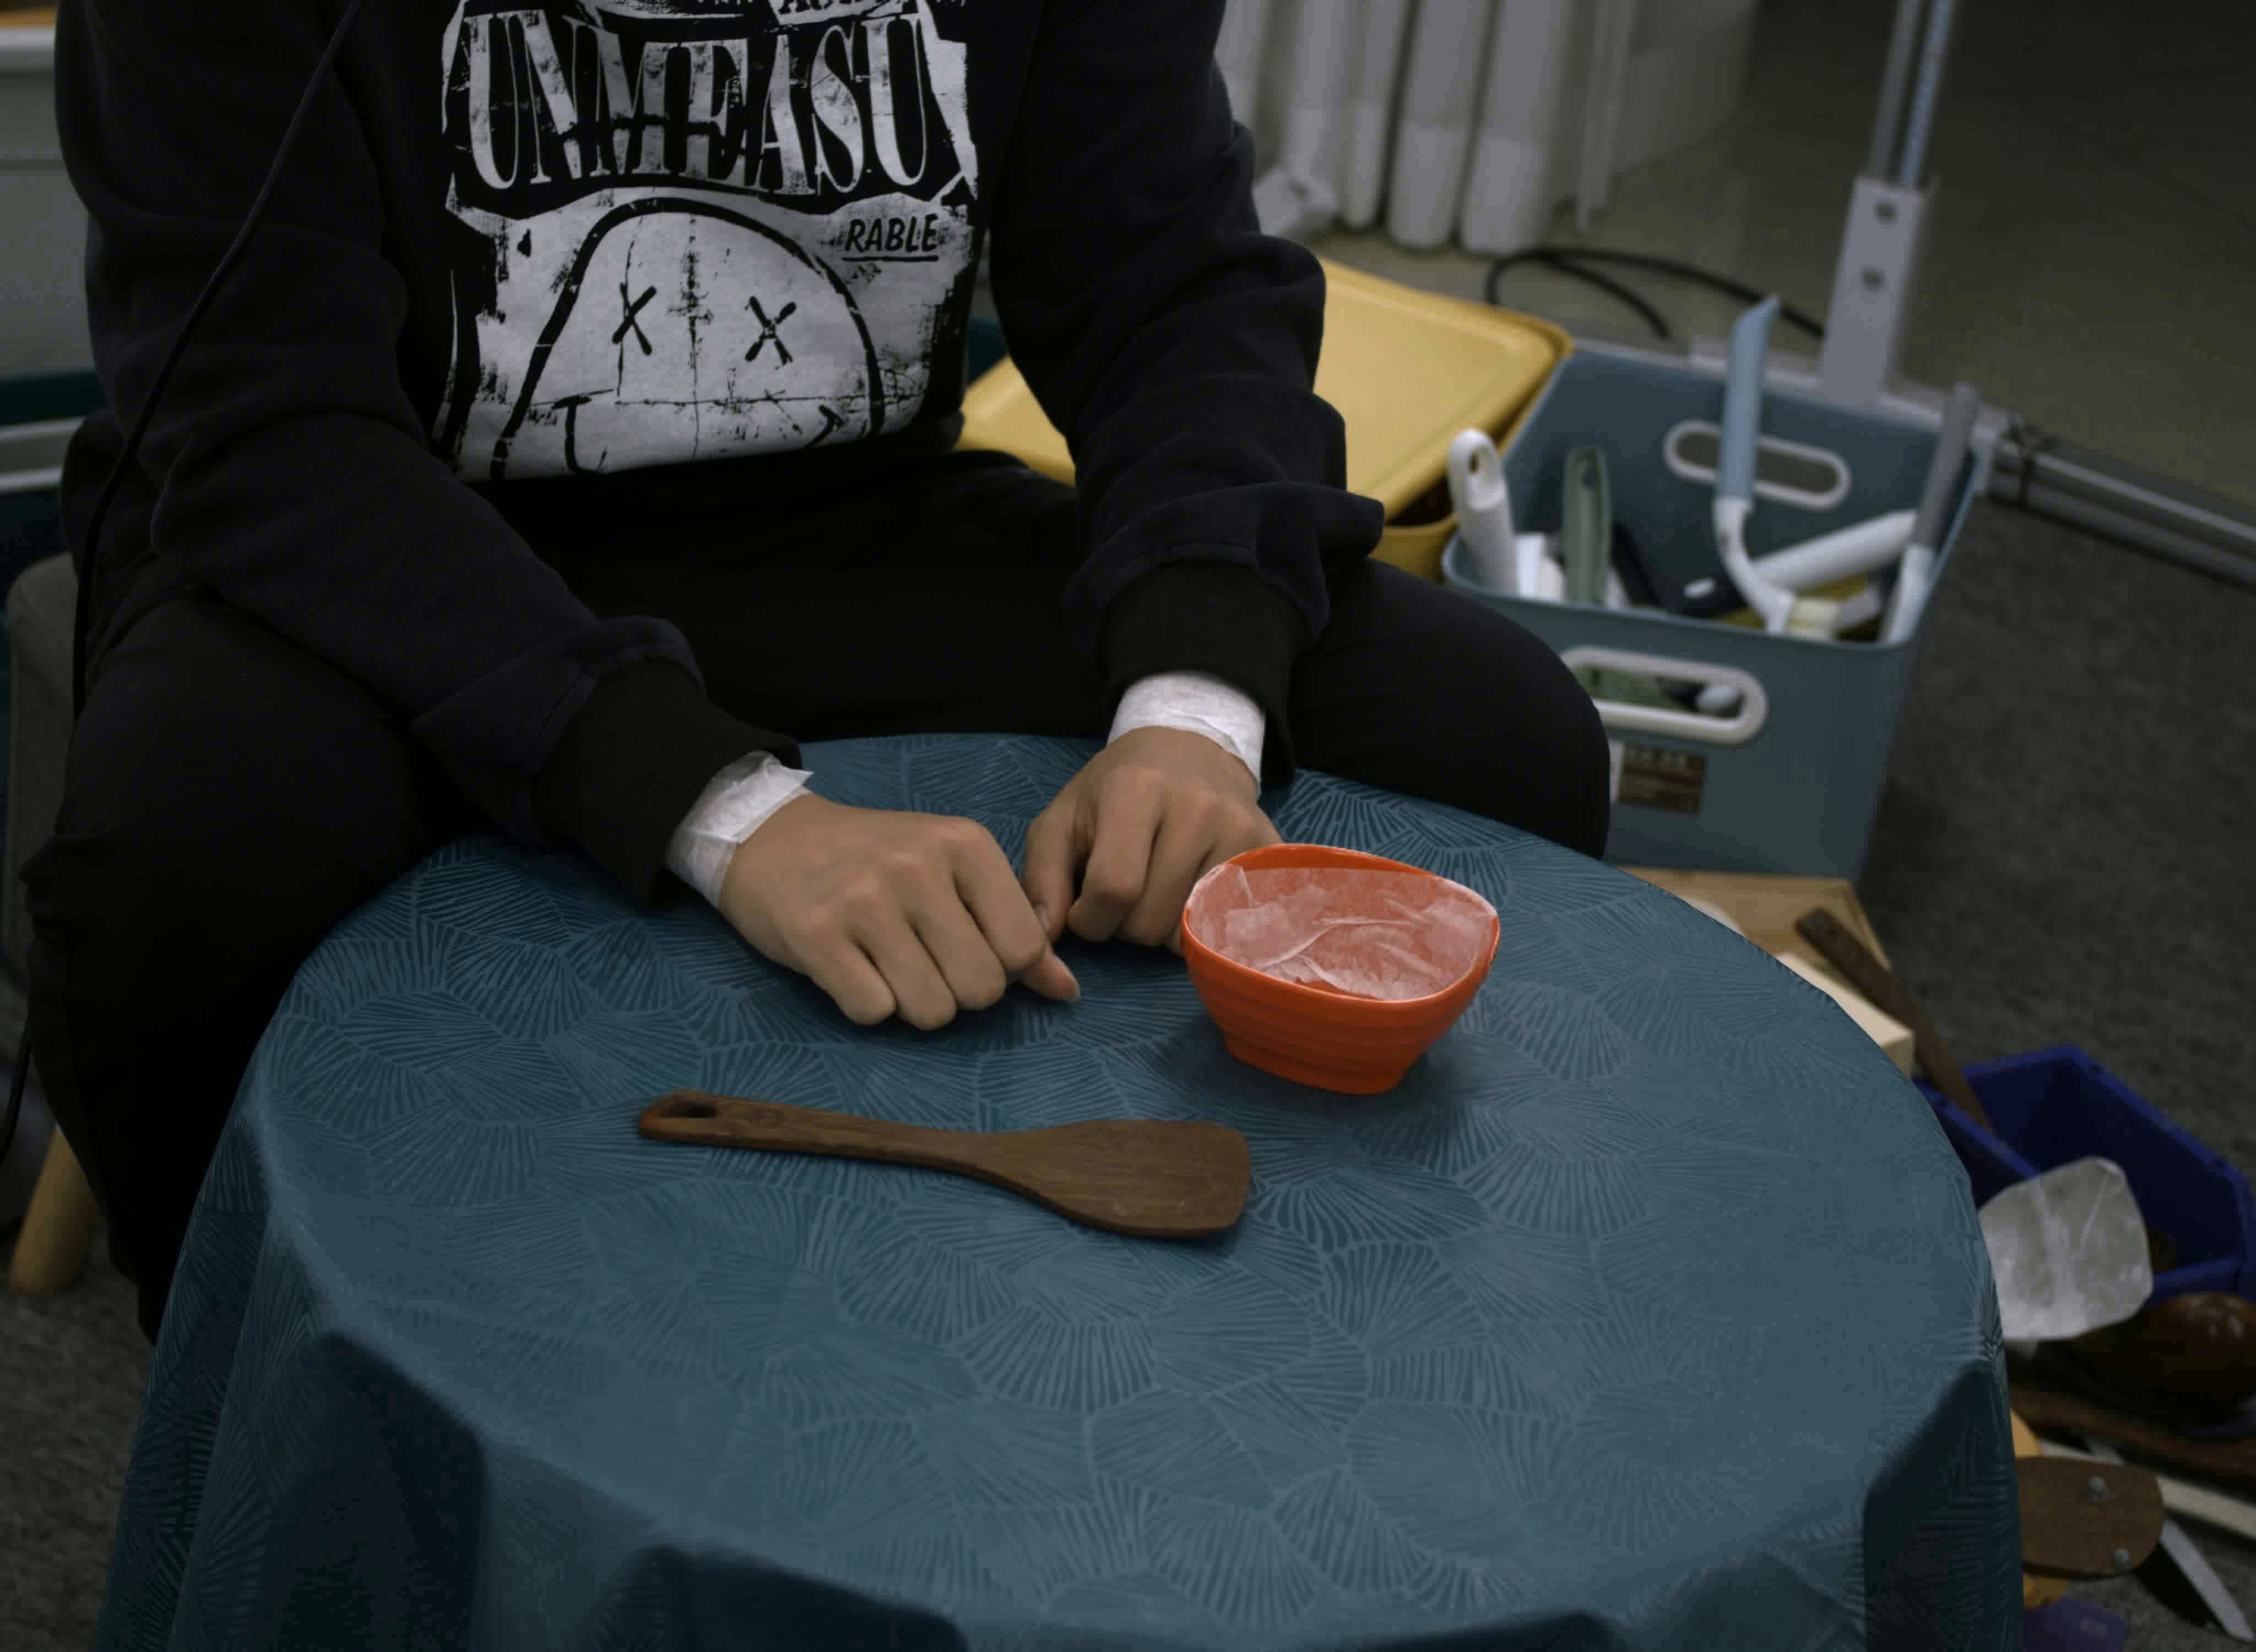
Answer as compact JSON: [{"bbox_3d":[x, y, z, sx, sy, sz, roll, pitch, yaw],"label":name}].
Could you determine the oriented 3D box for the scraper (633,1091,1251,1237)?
[{"bbox_3d":[-0.063,0.110,1.805,0.211,0.011,0.076,7,26,2],"label":"scraper"}]

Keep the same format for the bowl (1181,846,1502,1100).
[{"bbox_3d":[0.074,0.057,1.896,0.118,0.051,0.119,4,28,-3],"label":"bowl"}]
